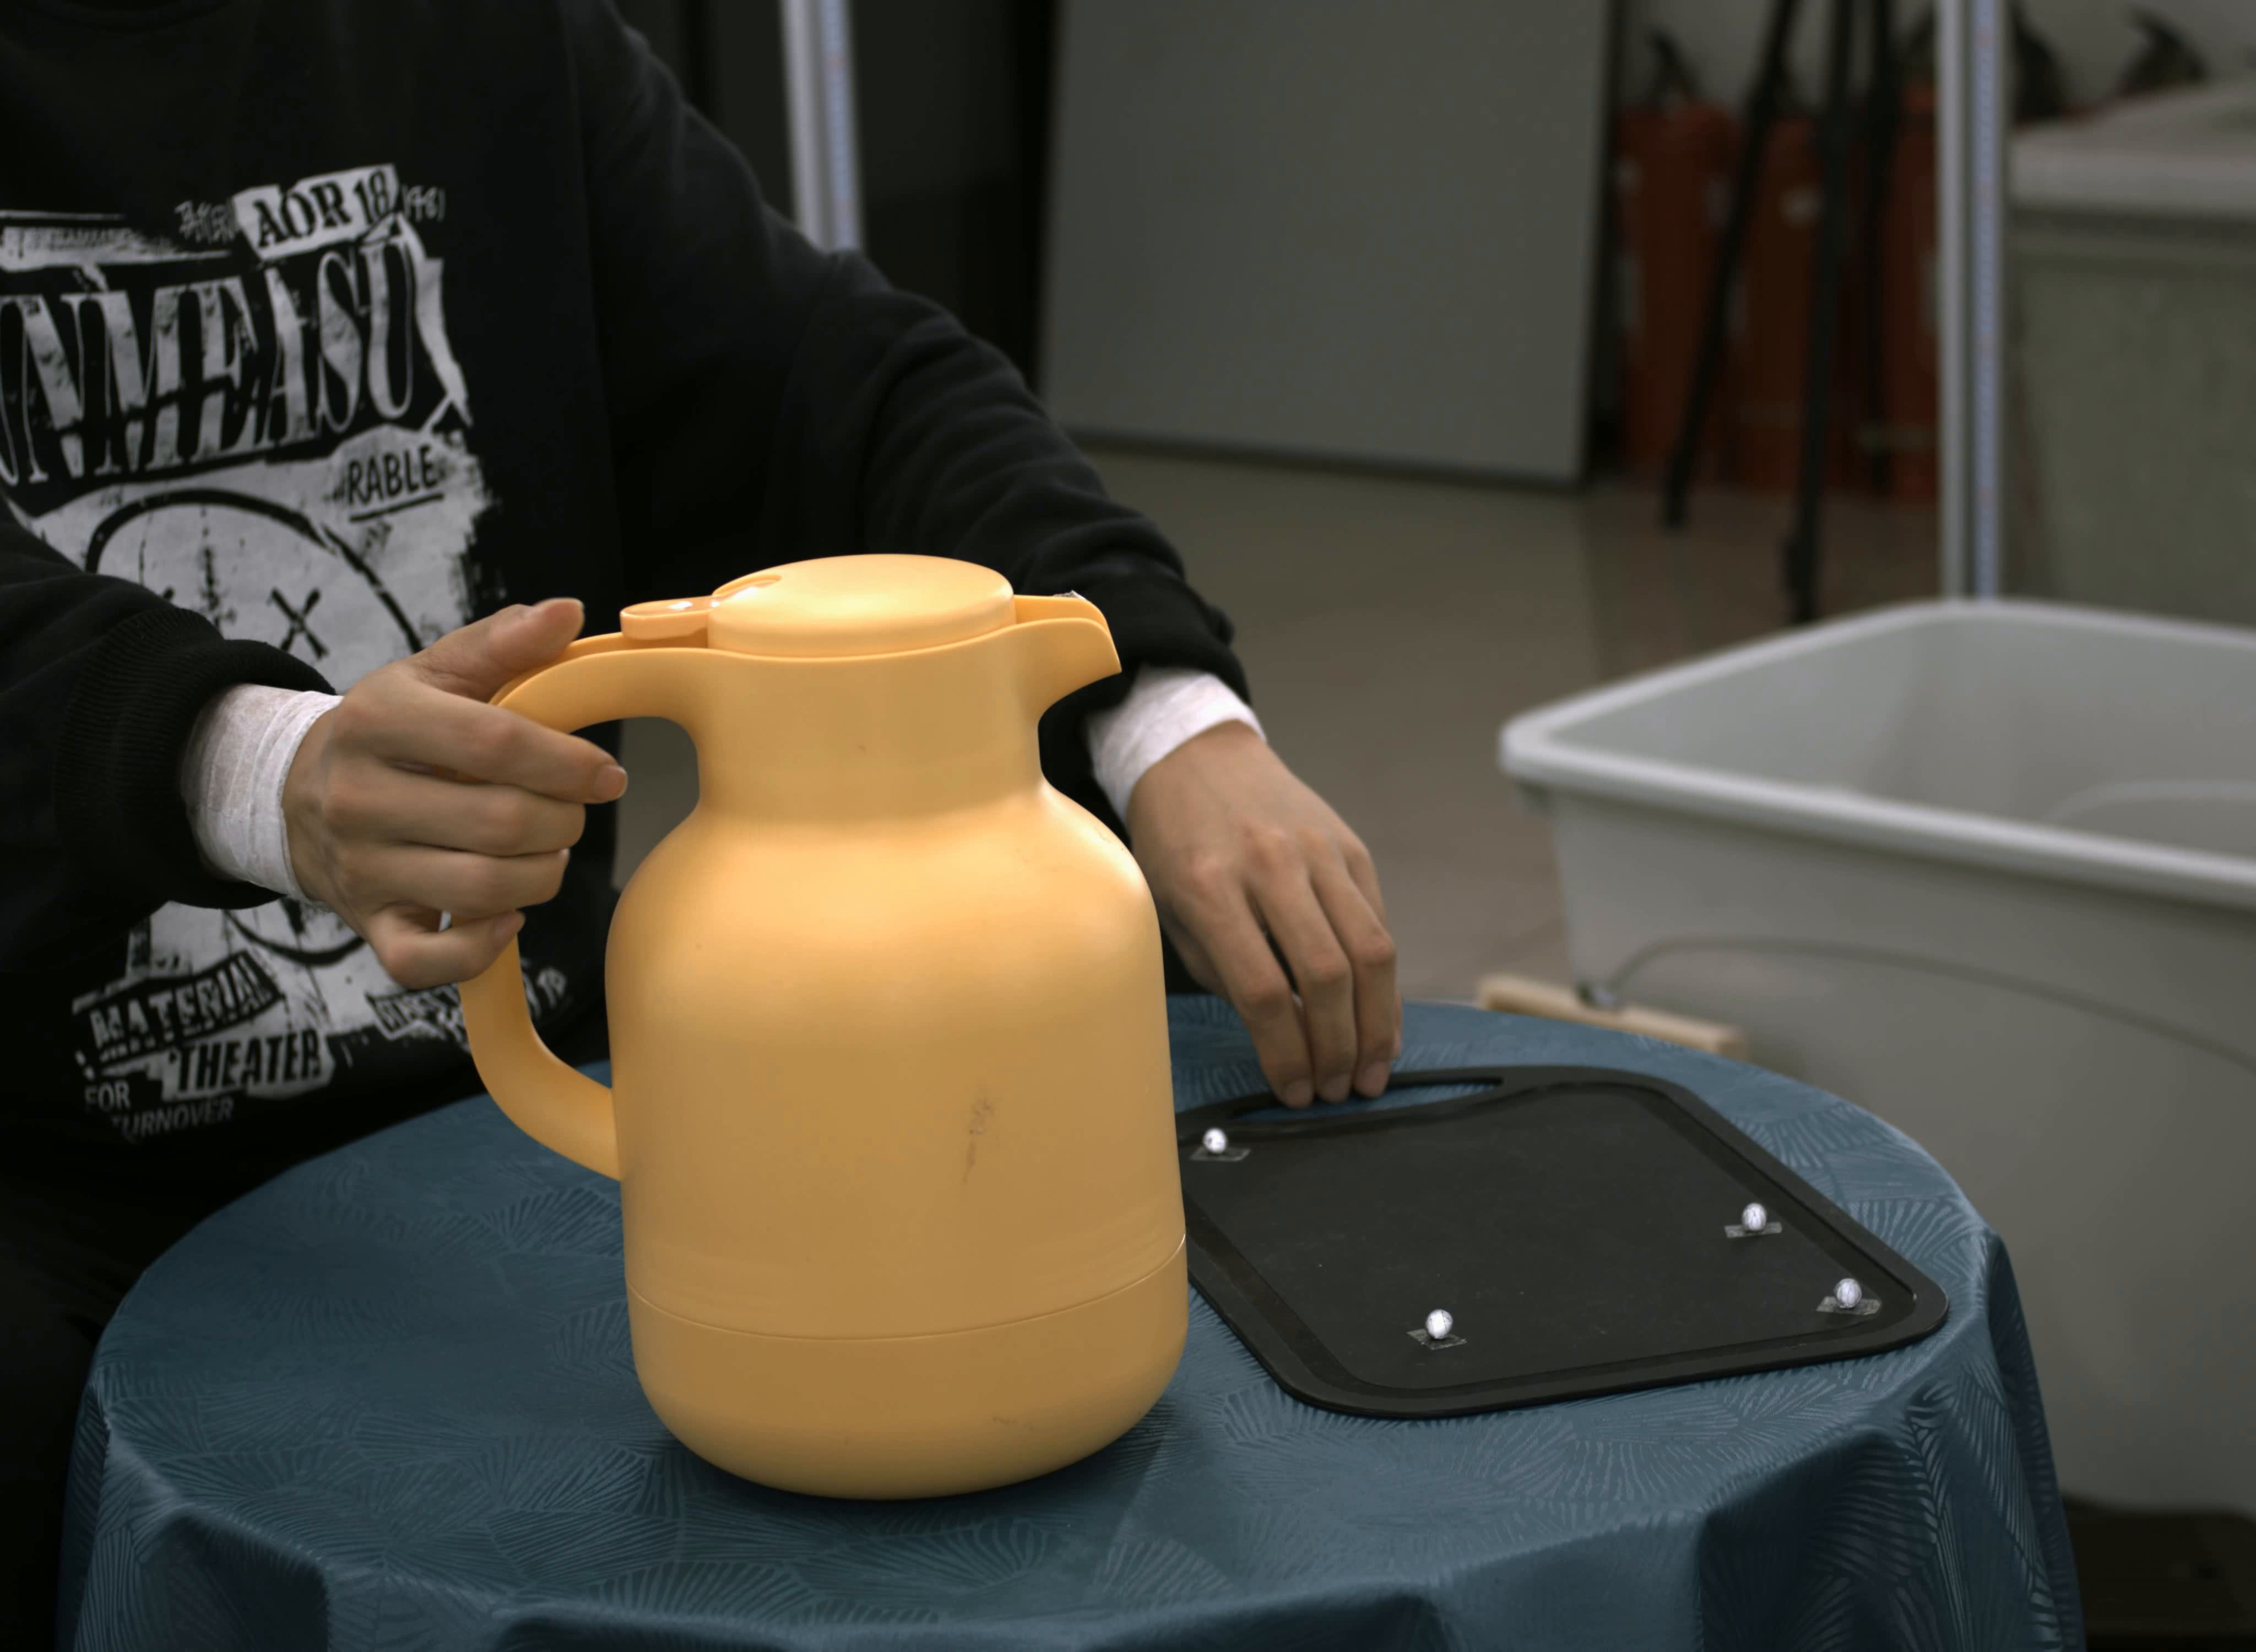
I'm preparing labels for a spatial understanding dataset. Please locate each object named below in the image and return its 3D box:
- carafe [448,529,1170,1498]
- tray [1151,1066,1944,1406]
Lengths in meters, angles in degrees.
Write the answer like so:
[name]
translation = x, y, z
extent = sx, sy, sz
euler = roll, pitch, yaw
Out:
[carafe]
translation = -0.090, 0.050, 1.538
extent = 0.200, 0.263, 0.163
euler = -2, 11, 2
[tray]
translation = 0.115, 0.123, 1.714
extent = 0.207, 0.010, 0.328
euler = -7, 14, -12
